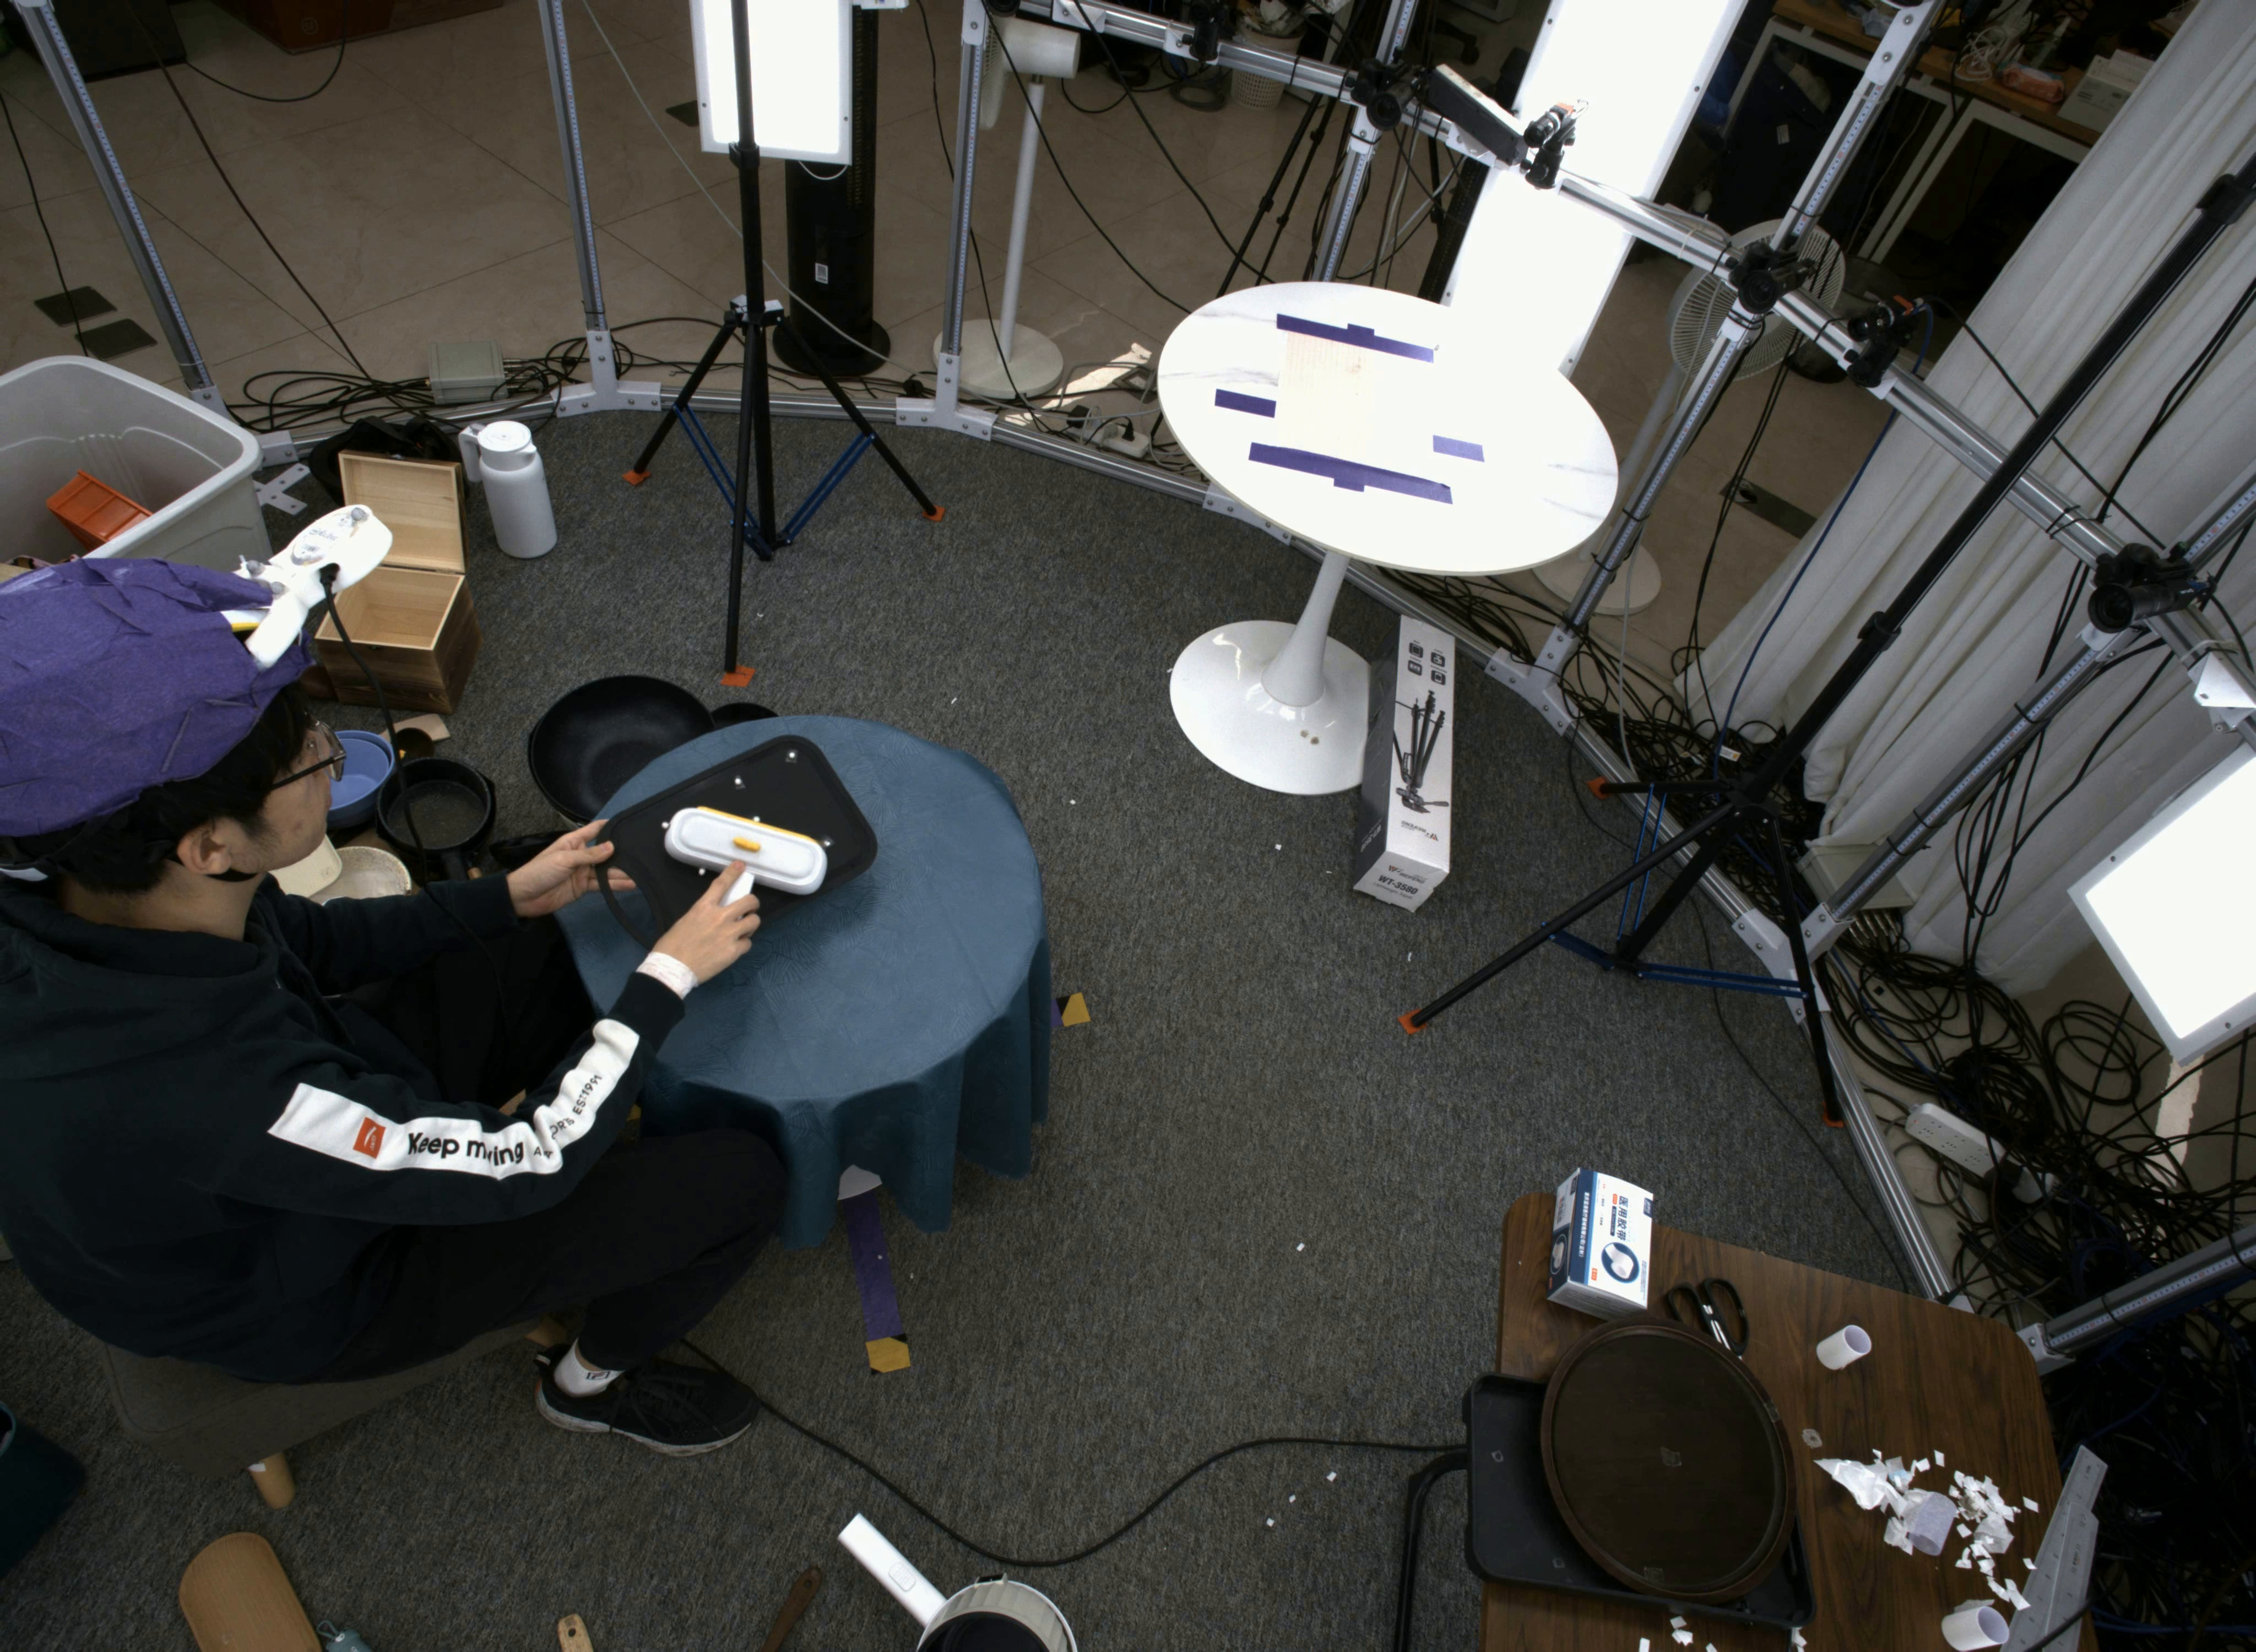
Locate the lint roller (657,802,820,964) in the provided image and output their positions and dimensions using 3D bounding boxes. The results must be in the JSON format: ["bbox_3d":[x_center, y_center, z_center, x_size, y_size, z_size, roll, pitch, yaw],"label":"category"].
[{"bbox_3d":[-0.470,0.073,1.527,0.195,0.074,0.191,16,65,-22],"label":"lint roller"}]

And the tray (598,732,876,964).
[{"bbox_3d":[-0.482,0.023,1.580,0.326,0.010,0.211,-31,86,-29],"label":"tray"}]
